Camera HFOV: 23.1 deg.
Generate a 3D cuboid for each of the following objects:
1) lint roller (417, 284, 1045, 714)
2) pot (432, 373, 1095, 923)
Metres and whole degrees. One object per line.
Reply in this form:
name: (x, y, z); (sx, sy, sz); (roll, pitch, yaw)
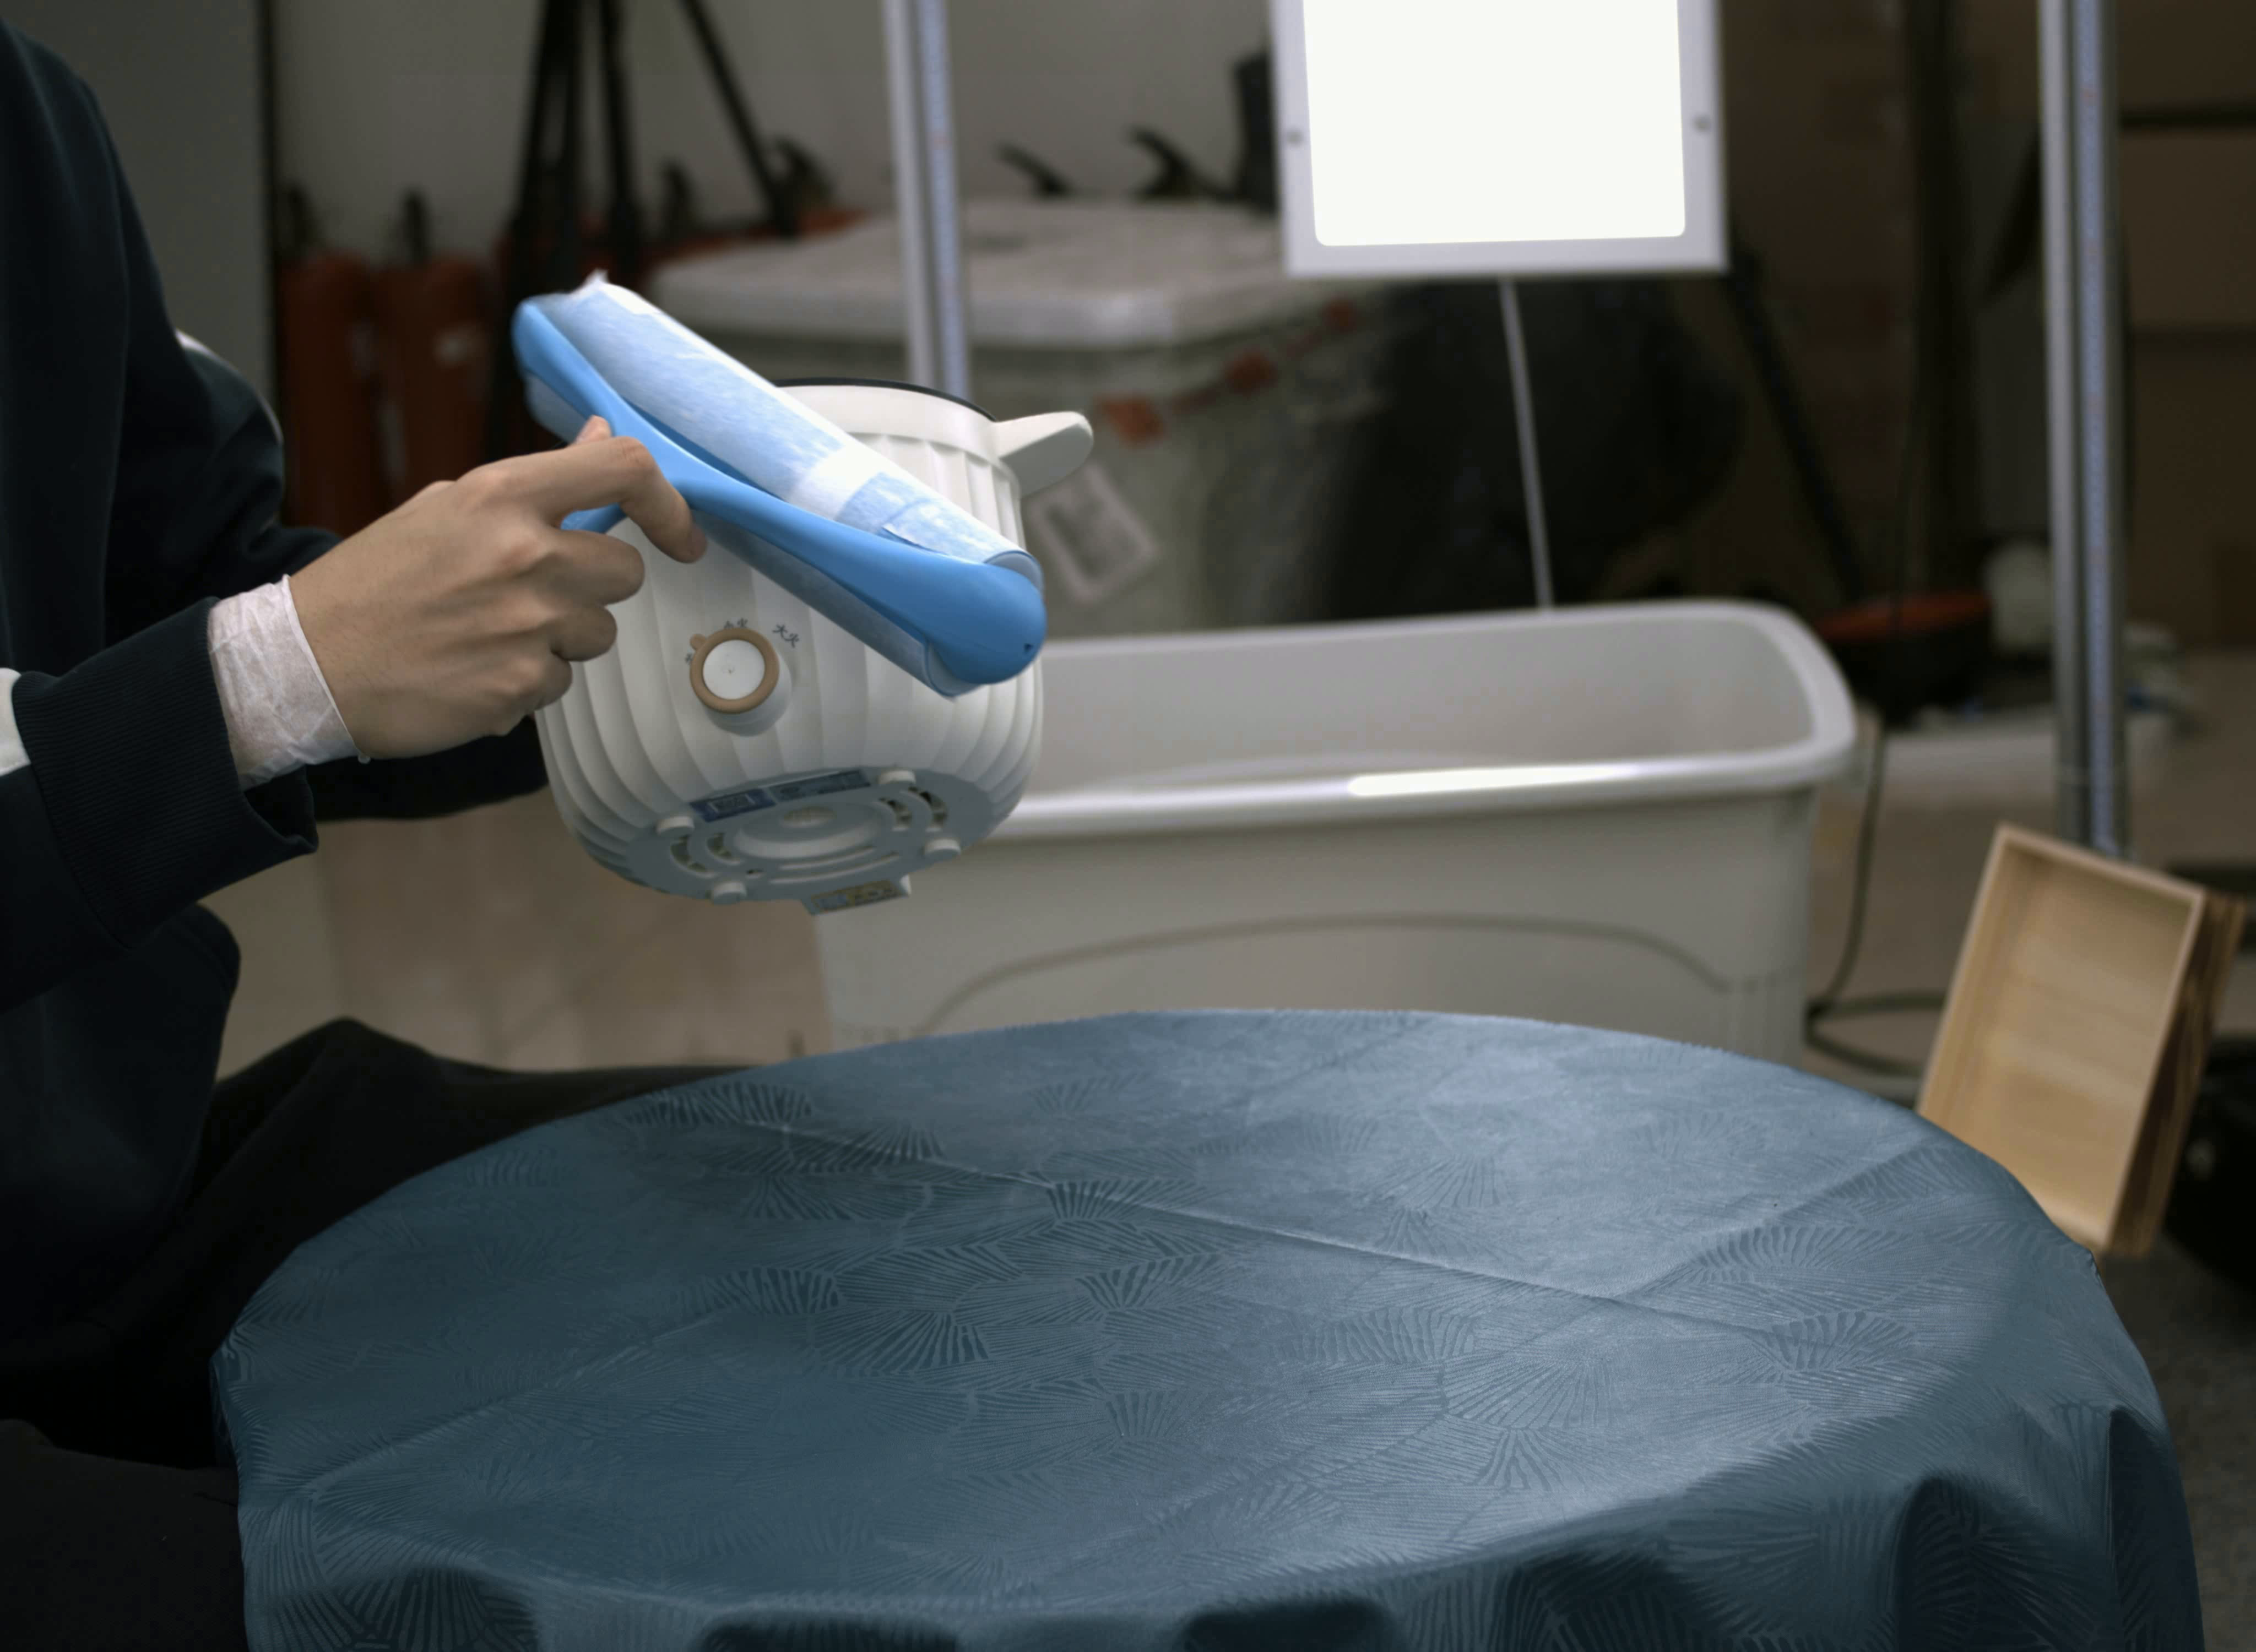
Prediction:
lint roller: (-0.154, -0.092, 1.763); (0.232, 0.068, 0.176); (32, 40, 26)
pot: (-0.119, -0.059, 1.914); (0.241, 0.143, 0.189); (-13, -23, 6)
